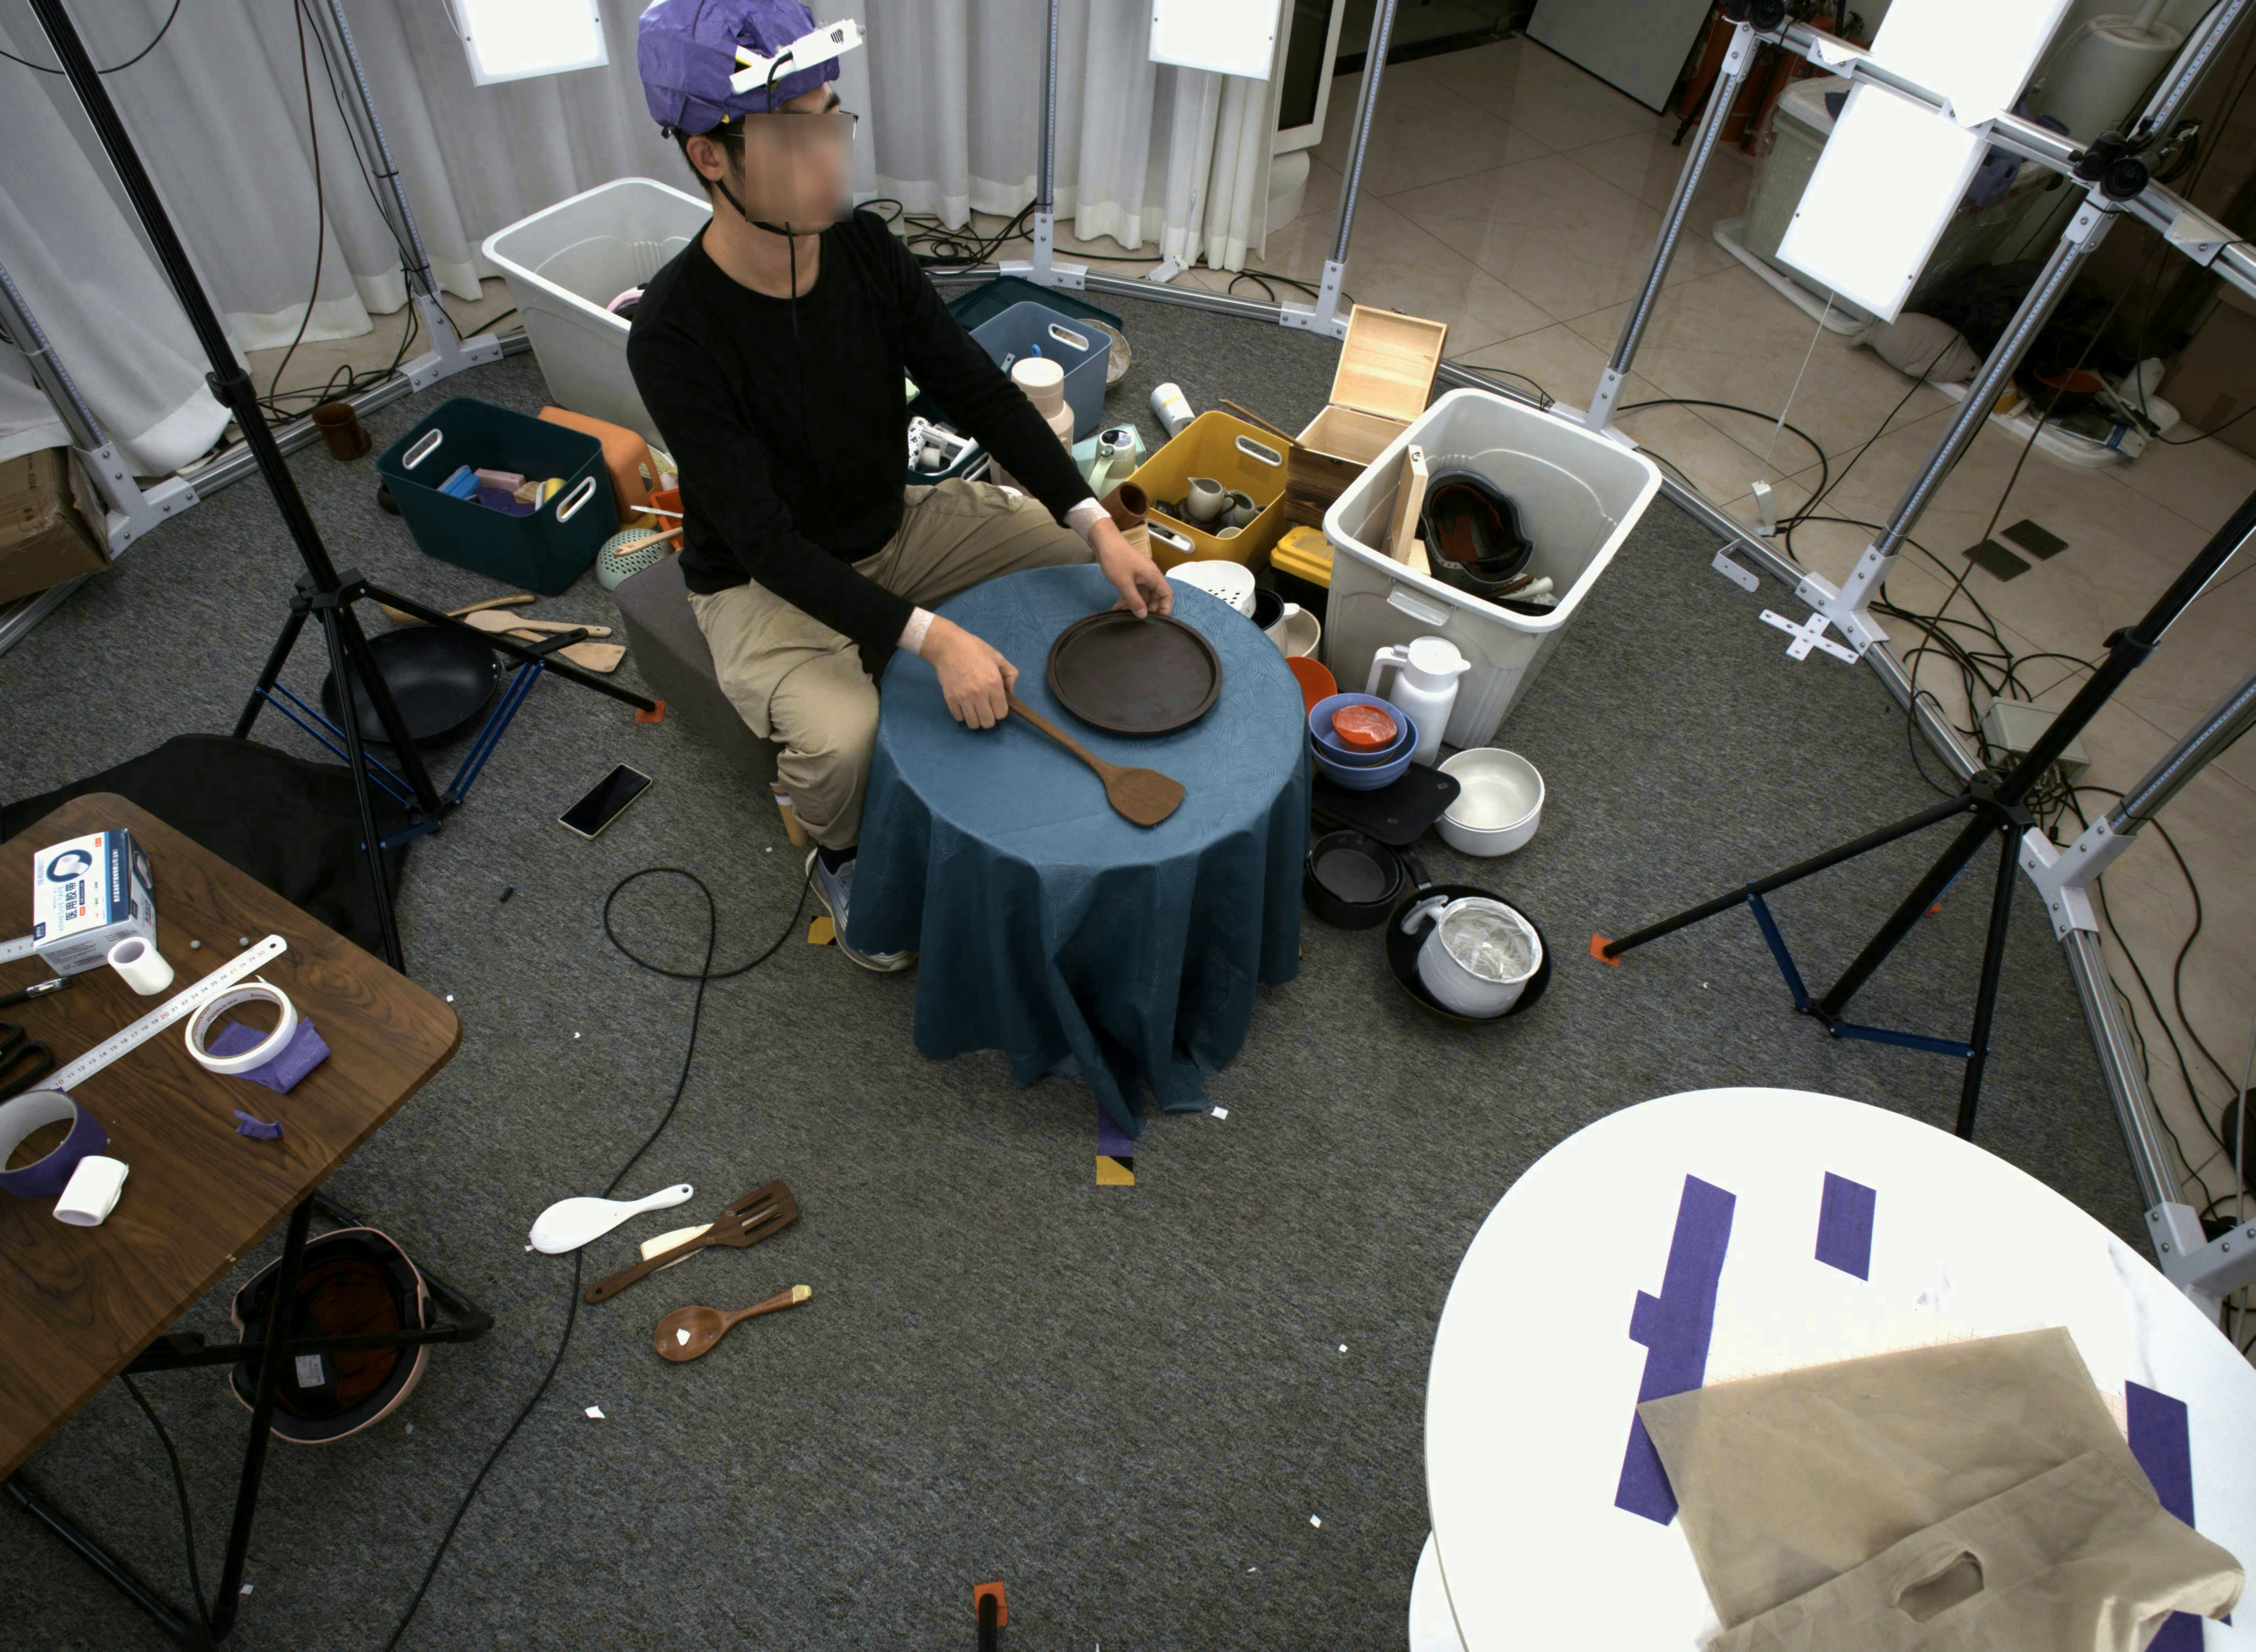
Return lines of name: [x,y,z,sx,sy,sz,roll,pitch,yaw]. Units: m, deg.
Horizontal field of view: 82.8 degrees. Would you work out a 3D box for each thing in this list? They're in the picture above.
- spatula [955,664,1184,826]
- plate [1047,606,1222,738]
spatula: [-0.092,-0.121,1.749,0.390,0.015,0.097,36,55,20]
plate: [0.009,-0.220,1.846,0.254,0.028,0.261,1,50,-2]
